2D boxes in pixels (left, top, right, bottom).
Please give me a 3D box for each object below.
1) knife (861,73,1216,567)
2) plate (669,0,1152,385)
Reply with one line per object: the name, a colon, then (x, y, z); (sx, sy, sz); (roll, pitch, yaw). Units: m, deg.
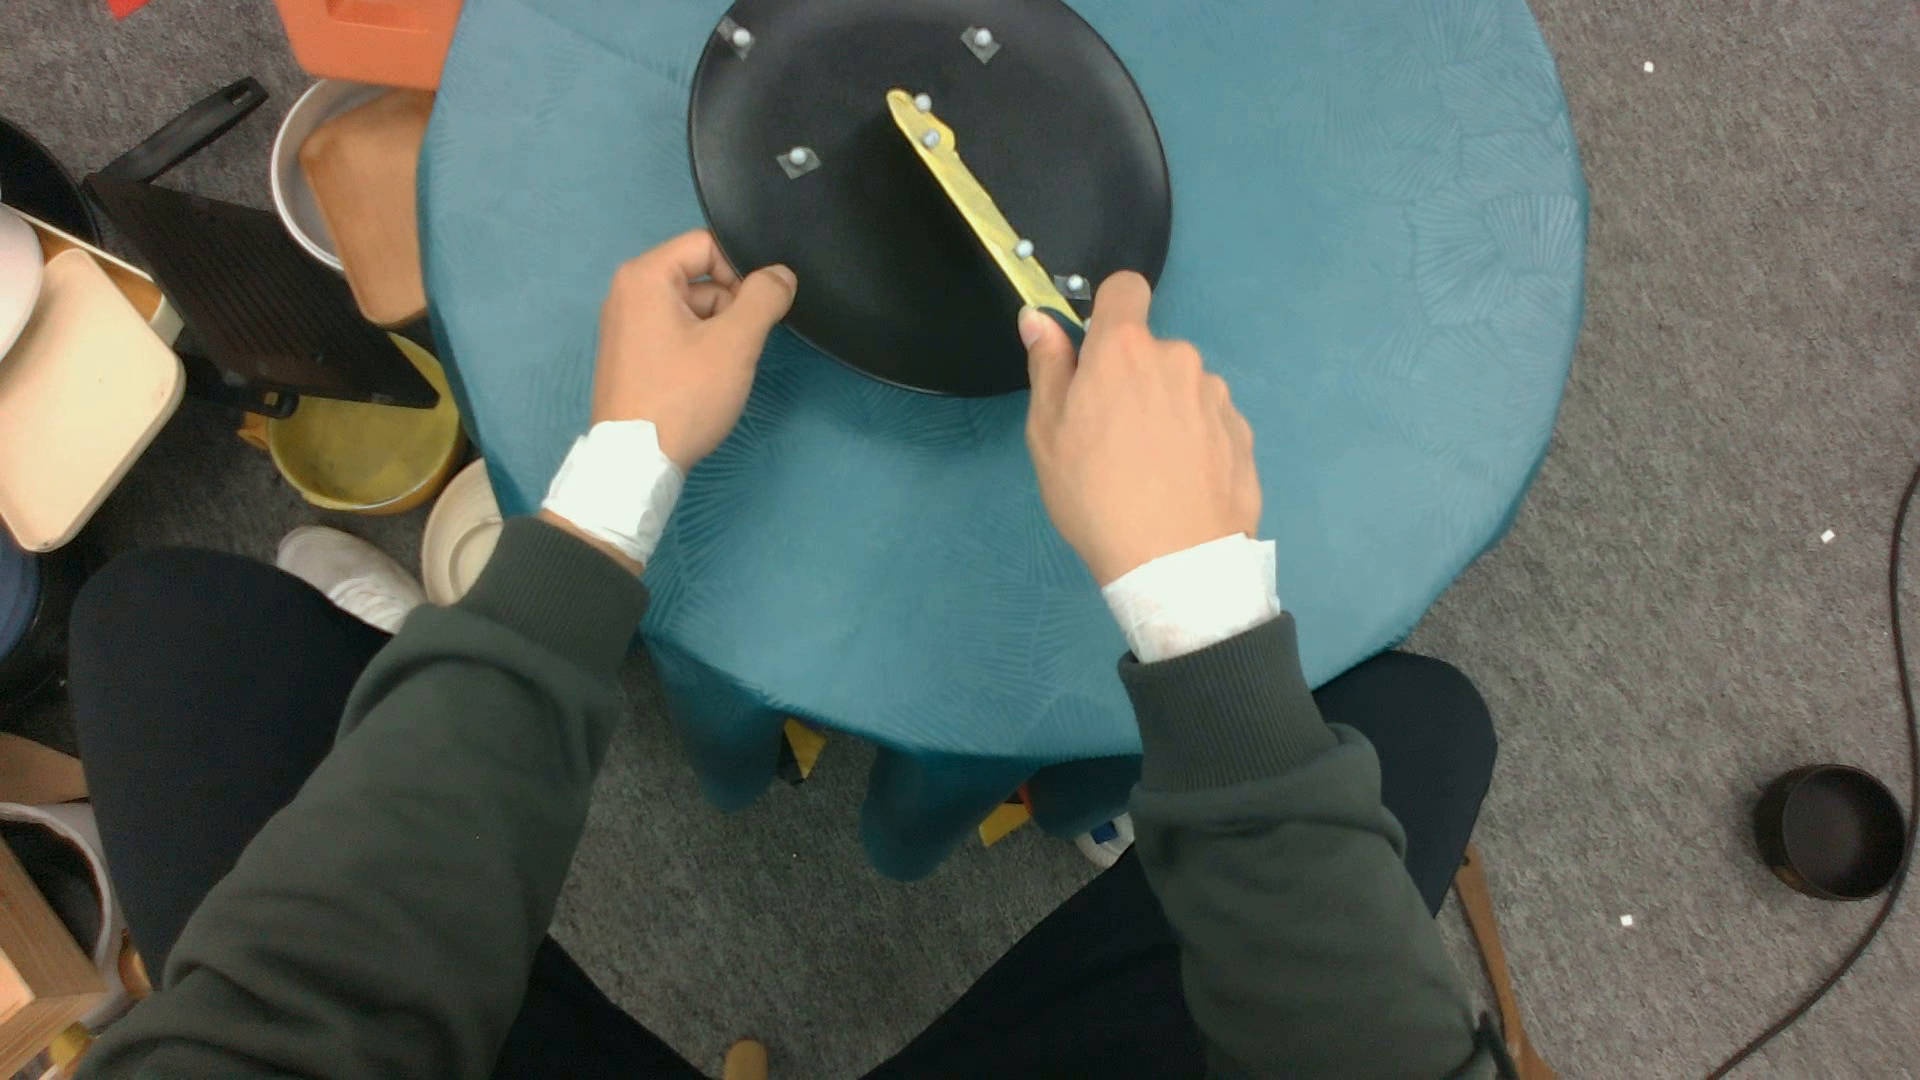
knife: (0.030, -0.107, 0.616); (0.027, 0.081, 0.290); (-39, 69, 20)
plate: (-0.020, -0.187, 0.675); (0.245, 0.023, 0.245); (5, 72, -17)
